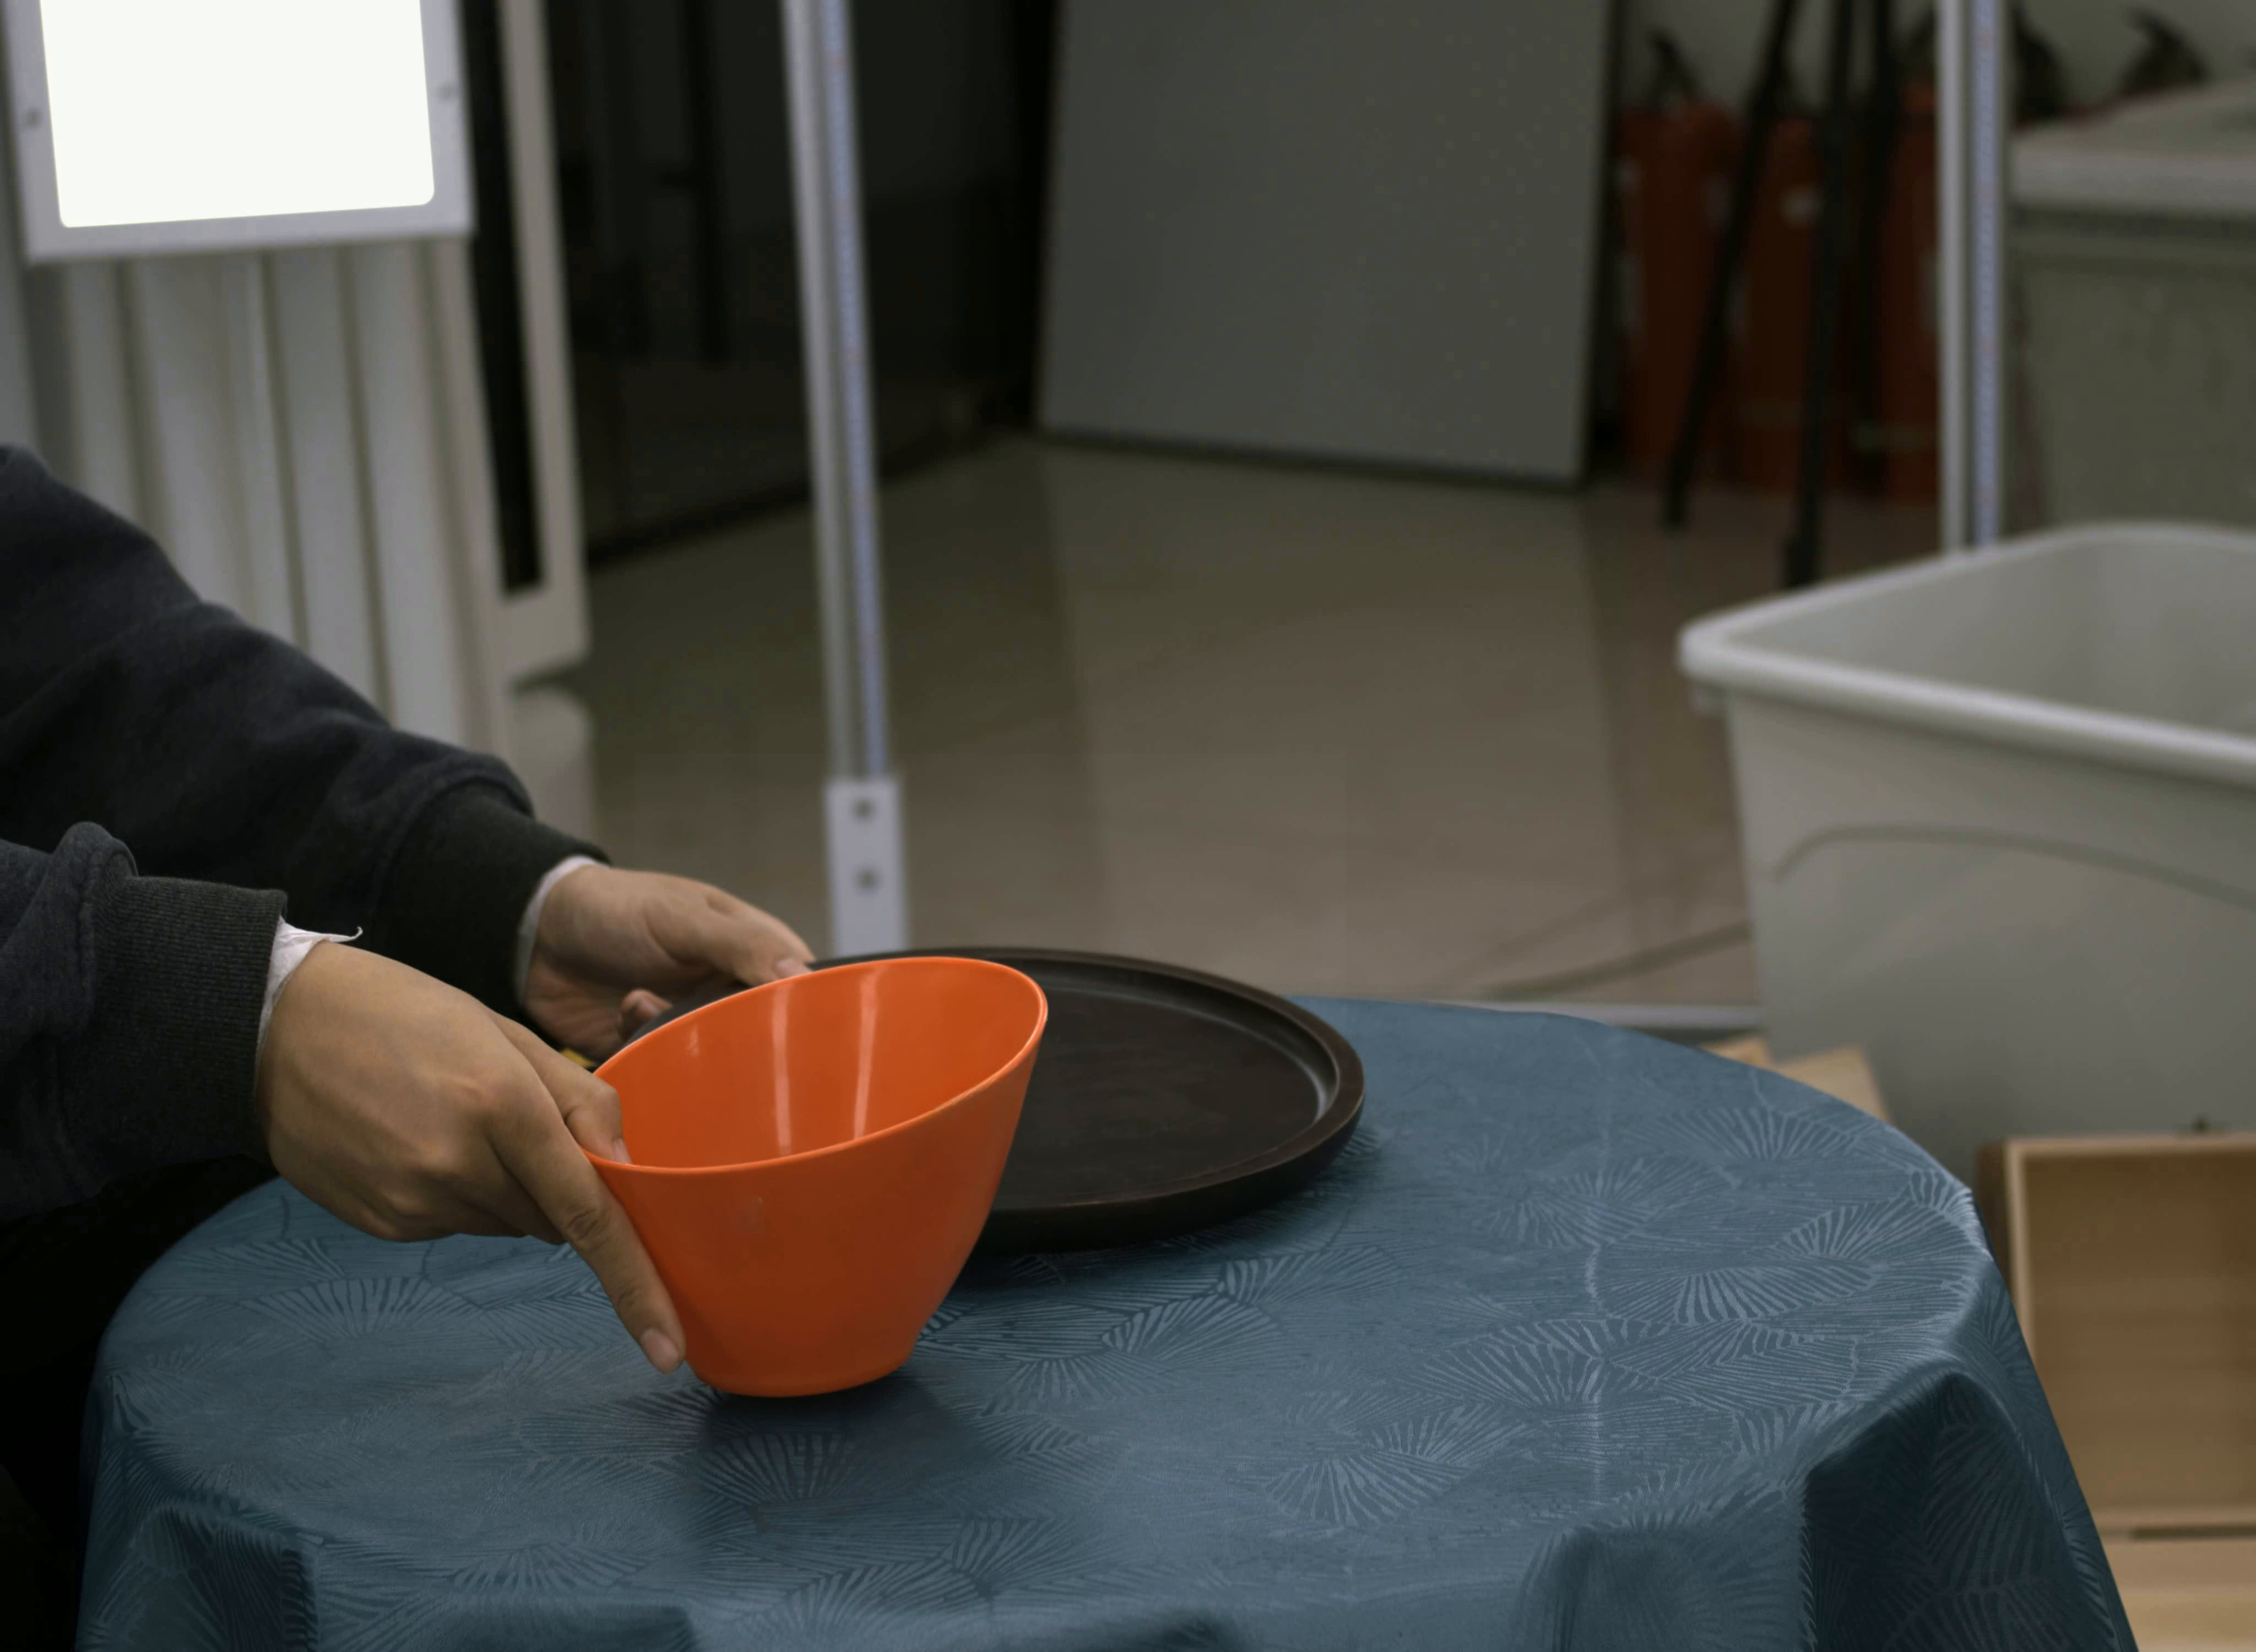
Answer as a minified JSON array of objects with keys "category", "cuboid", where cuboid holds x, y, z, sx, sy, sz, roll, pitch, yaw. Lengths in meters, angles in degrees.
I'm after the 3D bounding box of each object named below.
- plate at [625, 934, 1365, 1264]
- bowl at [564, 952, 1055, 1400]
[{"category":"plate","cuboid":[-0.046,0.091,1.797,0.251,0.029,0.255,0,18,-1]},{"category":"bowl","cuboid":[-0.091,0.107,1.600,0.146,0.106,0.148,-4,15,0]}]
